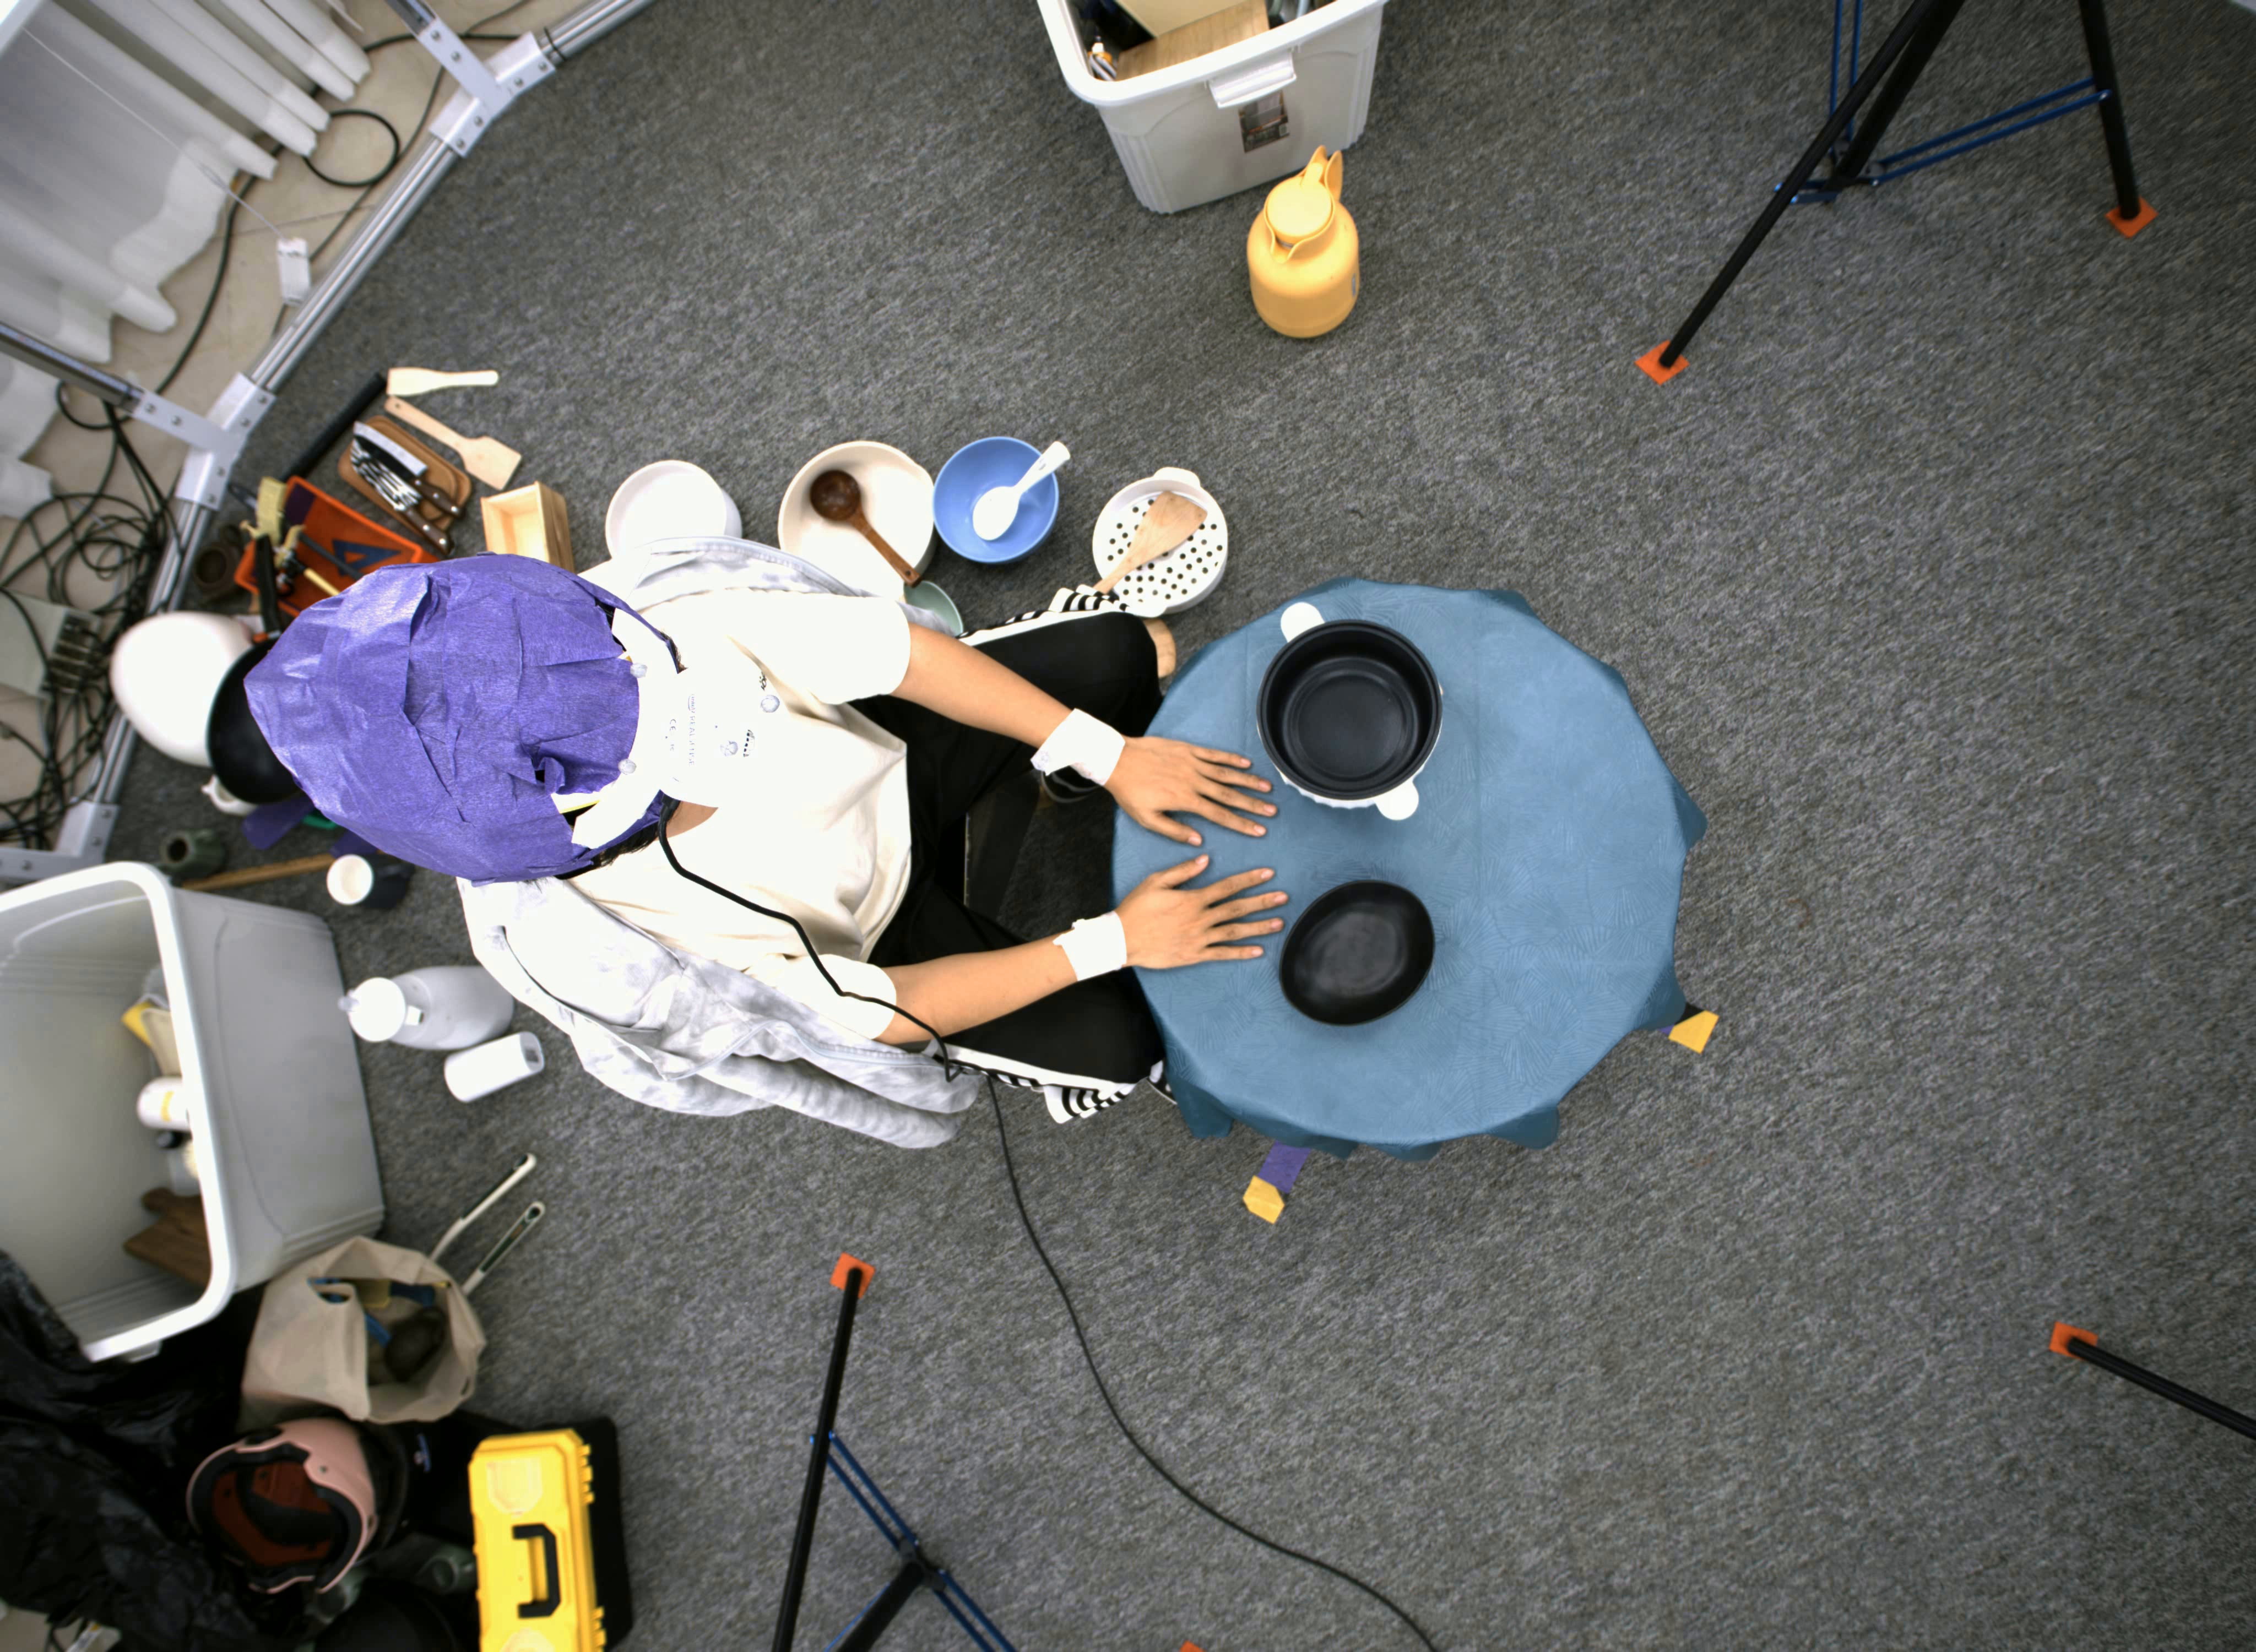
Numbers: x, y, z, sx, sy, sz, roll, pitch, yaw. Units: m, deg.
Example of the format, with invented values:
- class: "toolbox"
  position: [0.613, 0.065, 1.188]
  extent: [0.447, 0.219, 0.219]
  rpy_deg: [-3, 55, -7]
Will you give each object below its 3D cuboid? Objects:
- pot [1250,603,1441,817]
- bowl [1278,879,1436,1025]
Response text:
- class: "pot"
  position: [0.229, -0.113, 1.406]
  extent: [0.192, 0.142, 0.239]
  rpy_deg: [-29, 82, 10]
- class: "bowl"
  position: [0.237, 0.131, 1.429]
  extent: [0.171, 0.067, 0.136]
  rpy_deg: [-39, 79, 7]
